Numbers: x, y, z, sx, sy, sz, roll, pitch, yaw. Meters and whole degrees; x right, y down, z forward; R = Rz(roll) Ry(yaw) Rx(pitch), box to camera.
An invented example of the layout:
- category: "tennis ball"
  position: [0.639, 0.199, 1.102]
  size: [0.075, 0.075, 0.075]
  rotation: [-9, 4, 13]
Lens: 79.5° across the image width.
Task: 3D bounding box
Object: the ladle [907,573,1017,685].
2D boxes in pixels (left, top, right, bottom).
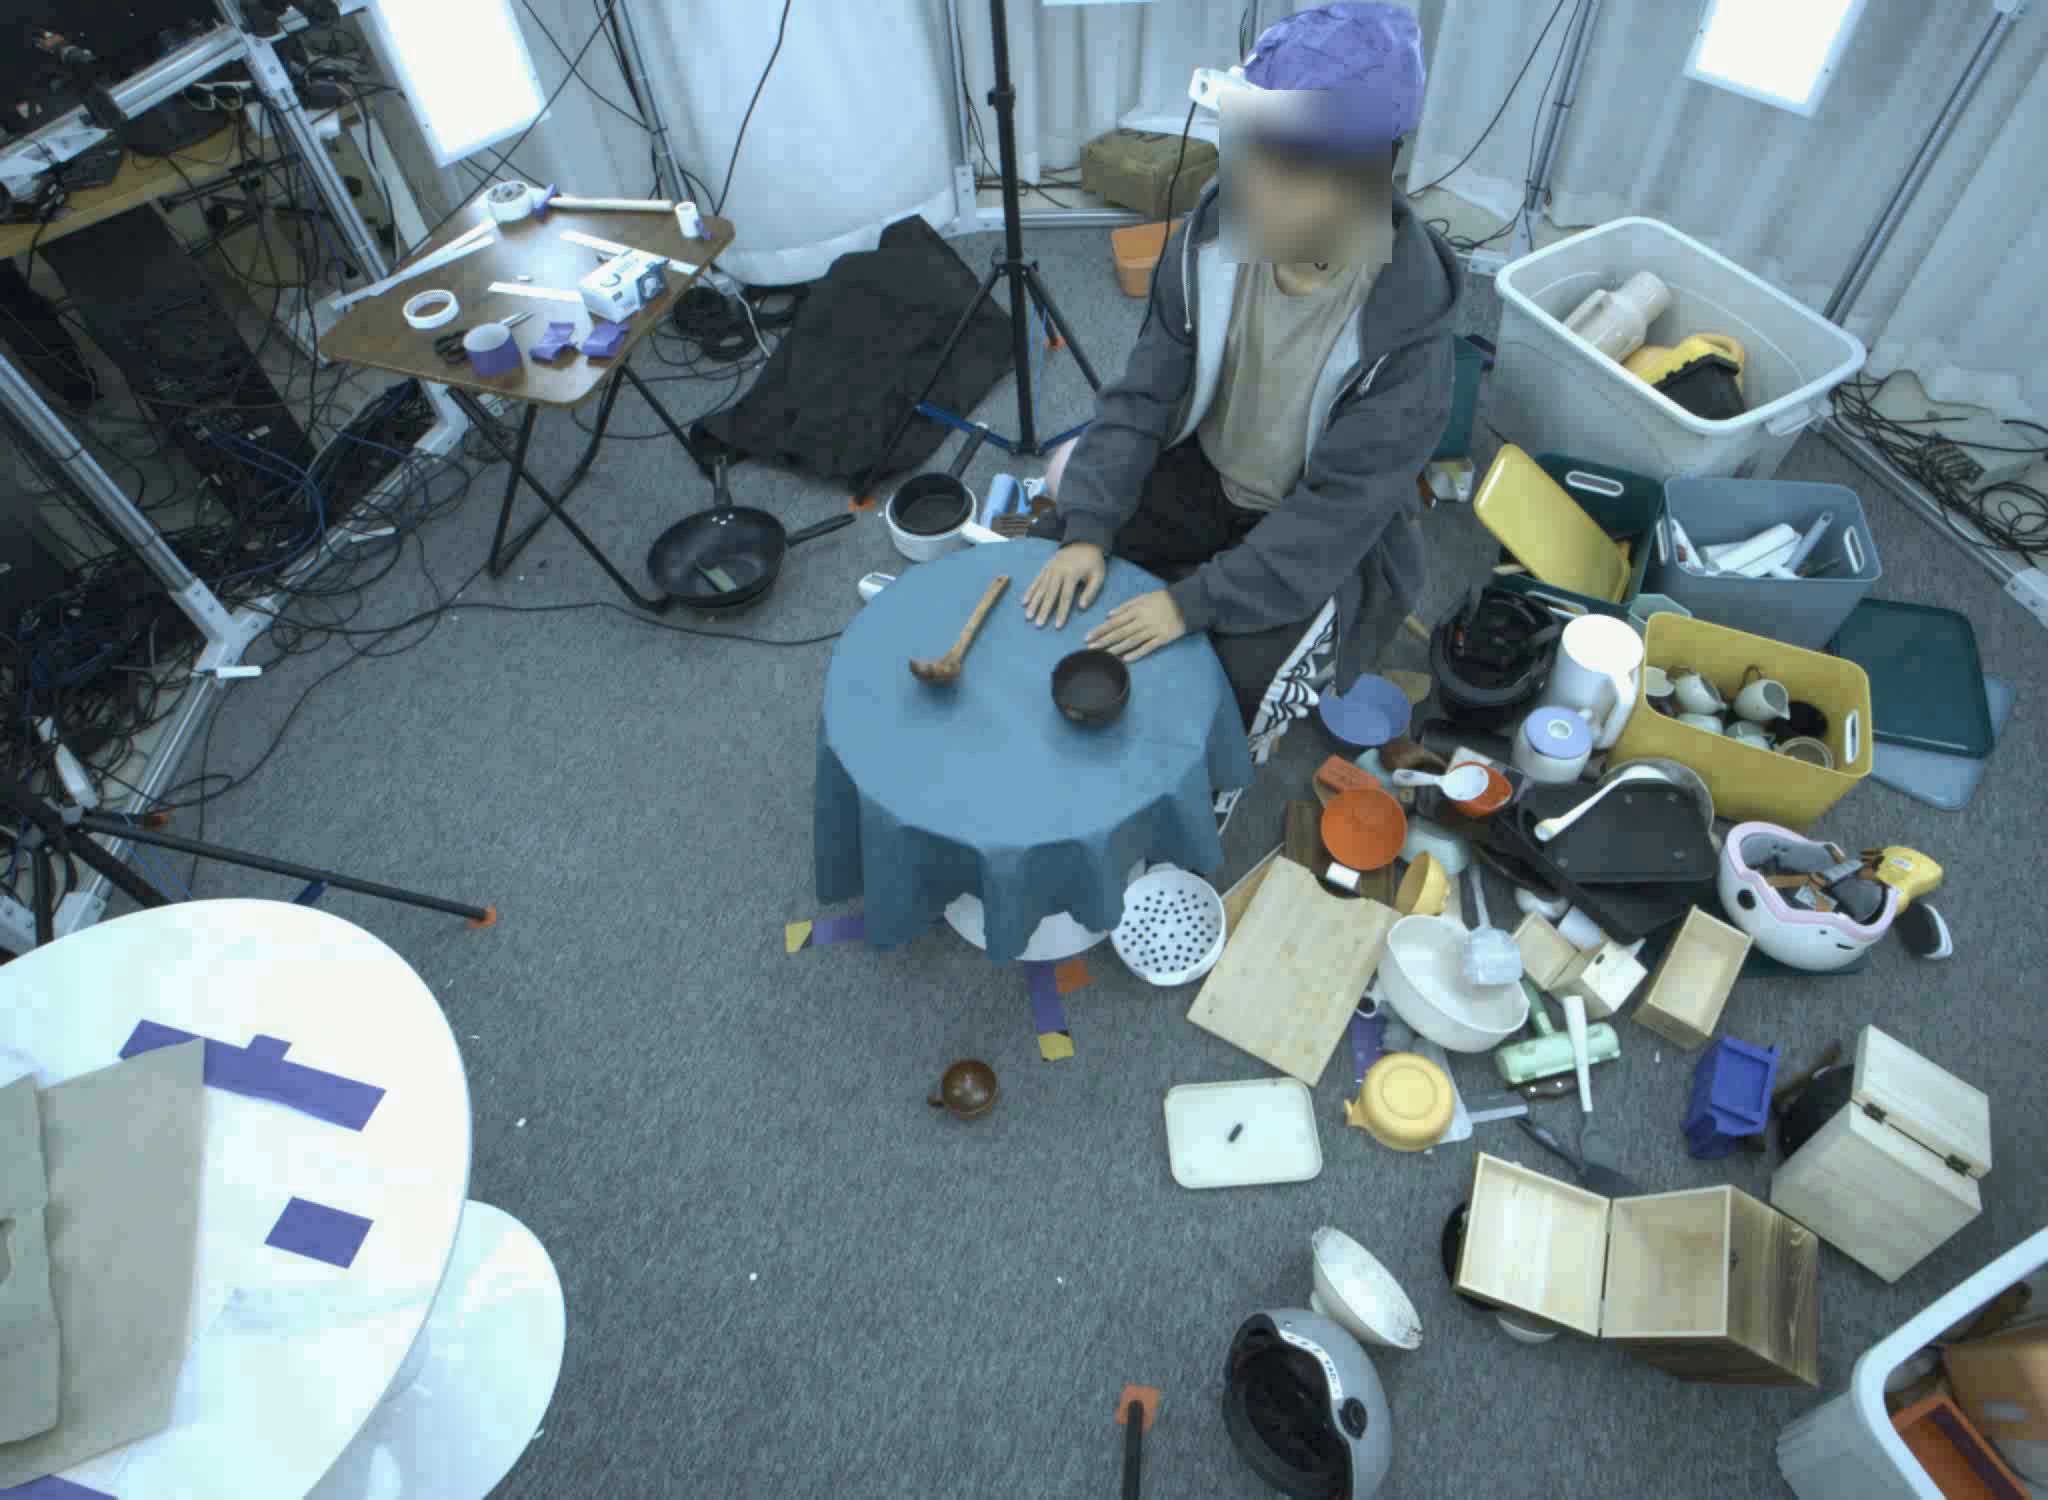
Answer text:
- category: "ladle"
  position: [-0.089, -0.201, 1.887]
  size: [0.080, 0.078, 0.274]
  rotation: [18, 57, 21]

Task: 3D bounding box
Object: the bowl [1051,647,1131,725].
- category: "bowl"
  position: [0.098, -0.085, 1.801]
  size: [0.118, 0.070, 0.117]
  rotation: [-1, 54, 3]
